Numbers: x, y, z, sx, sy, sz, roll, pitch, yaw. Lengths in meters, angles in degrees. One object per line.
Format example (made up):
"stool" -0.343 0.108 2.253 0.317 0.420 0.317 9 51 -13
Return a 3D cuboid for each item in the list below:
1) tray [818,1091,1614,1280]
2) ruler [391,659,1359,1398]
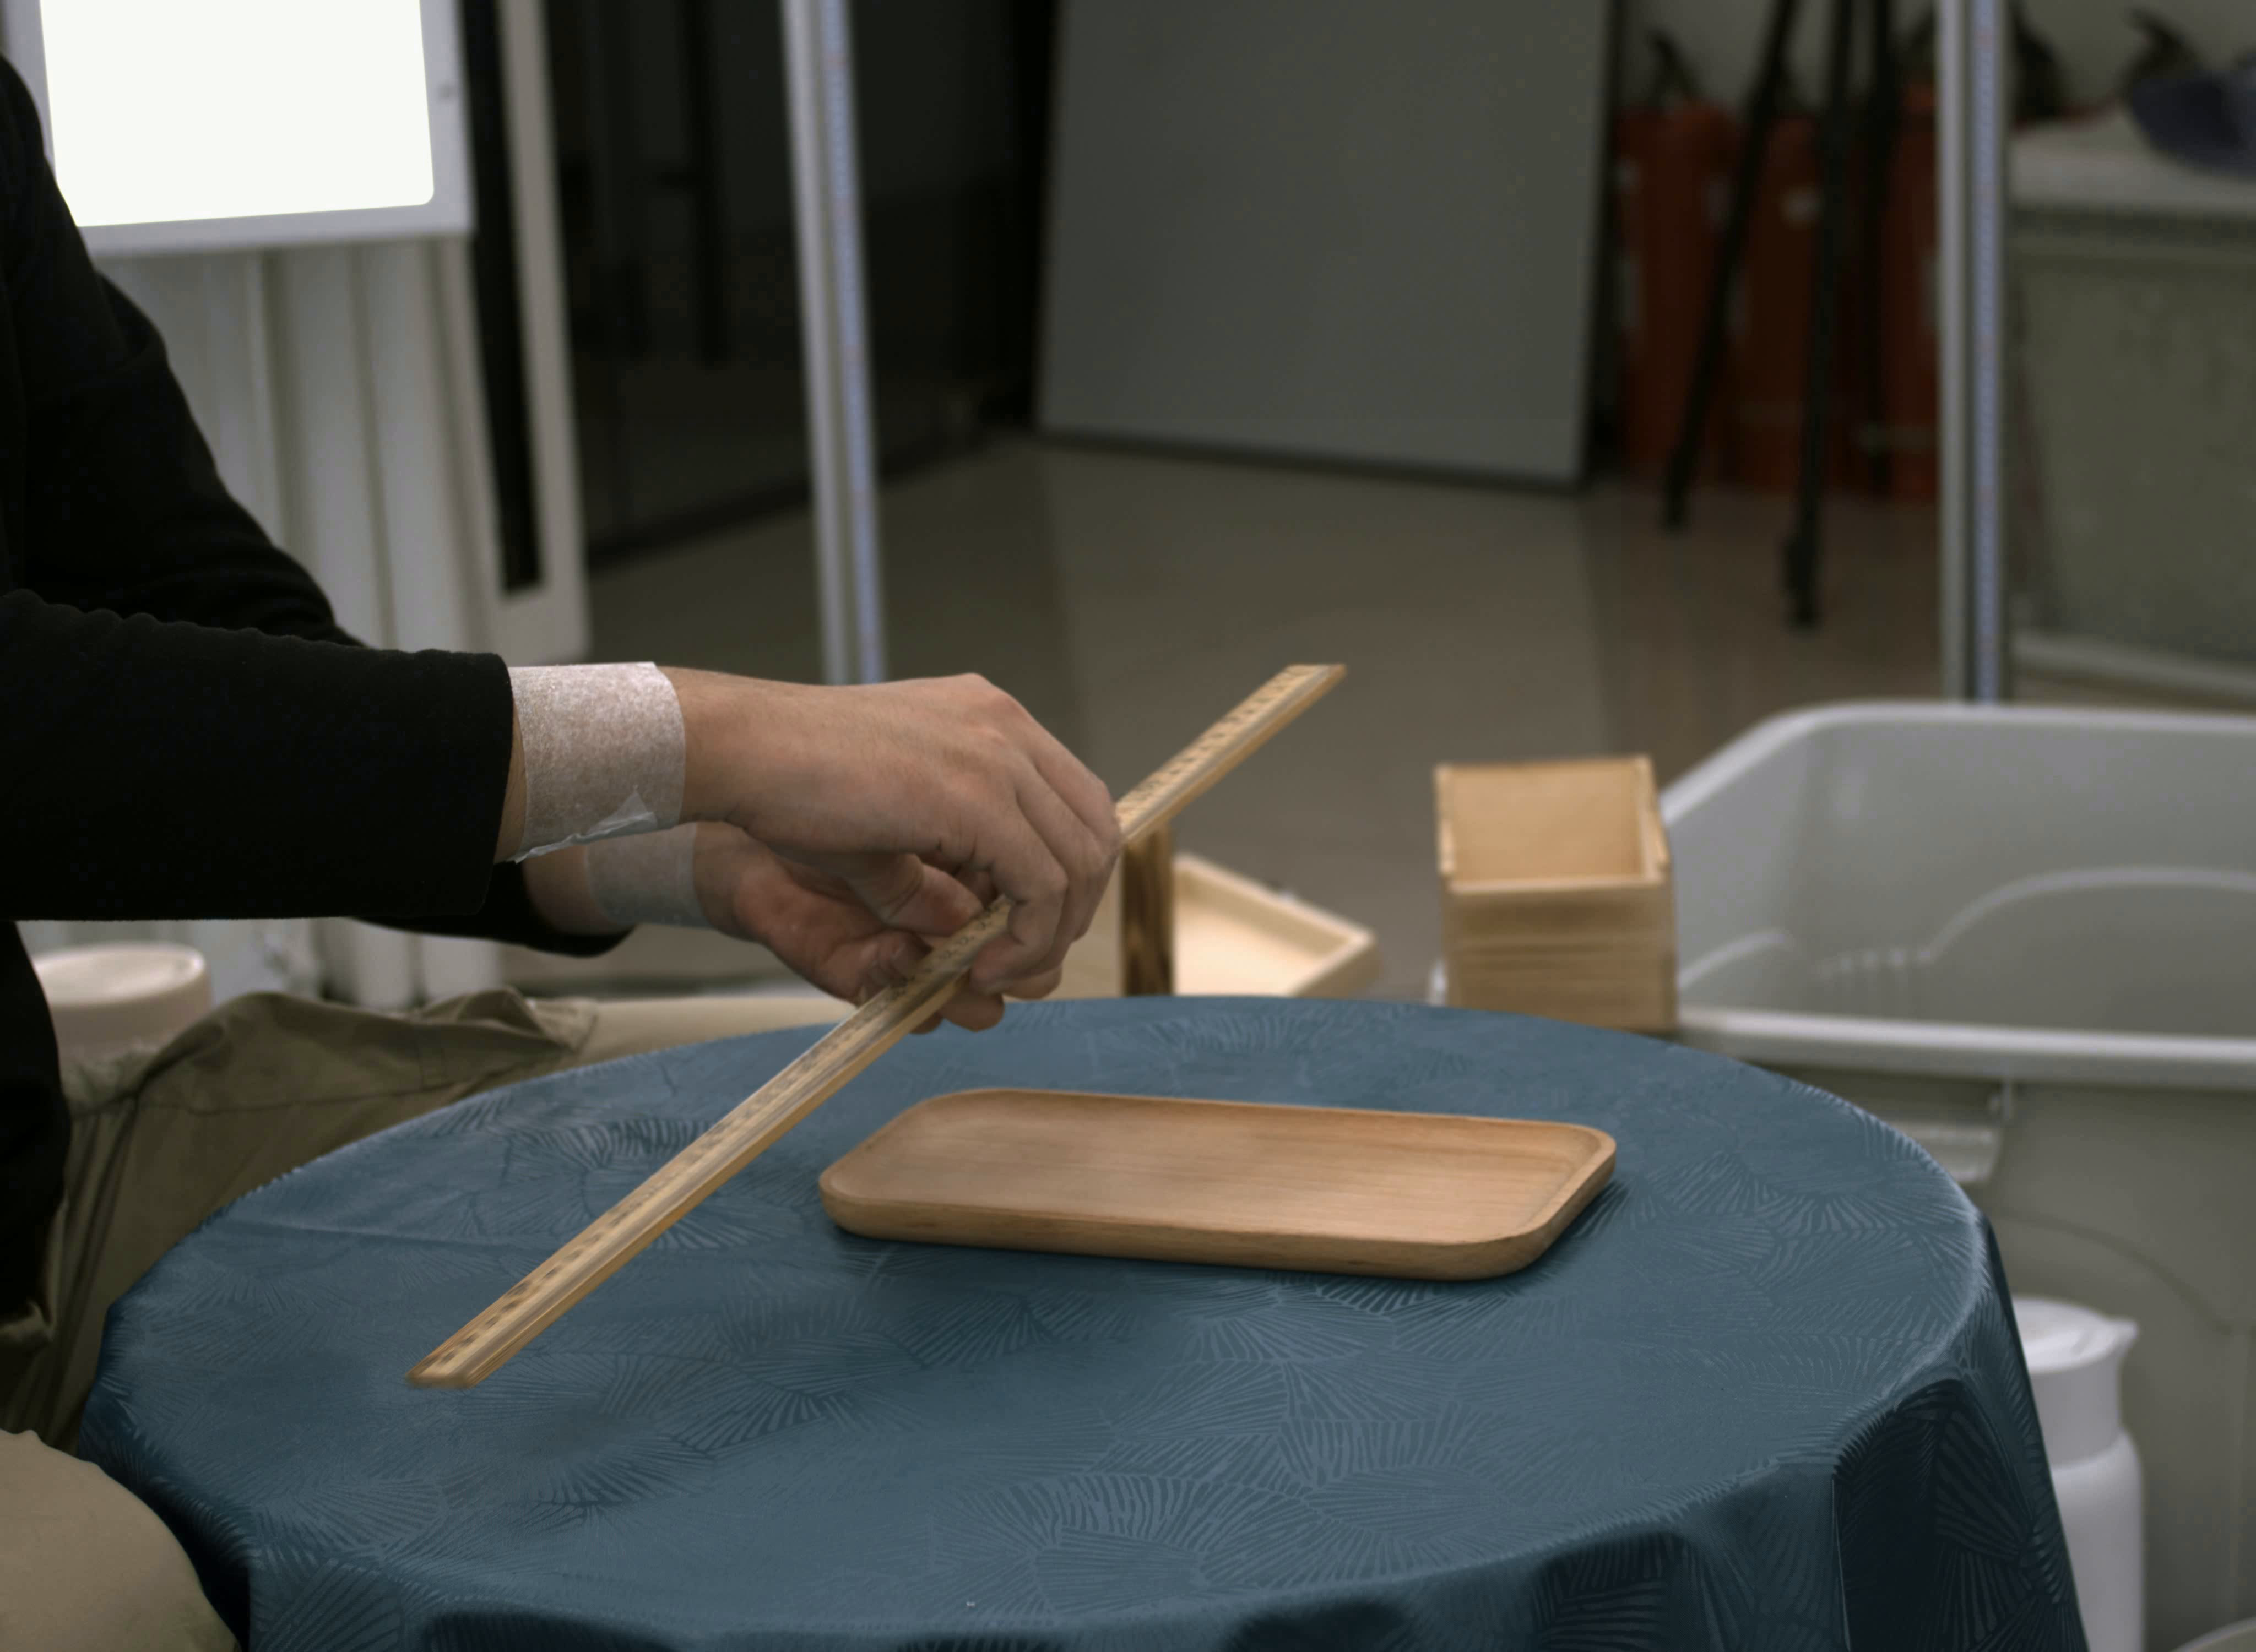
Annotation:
"tray" 0.028 0.116 1.750 0.251 0.023 0.129 1 12 25
"ruler" -0.064 0.051 1.688 0.027 0.006 0.494 -6 22 39
